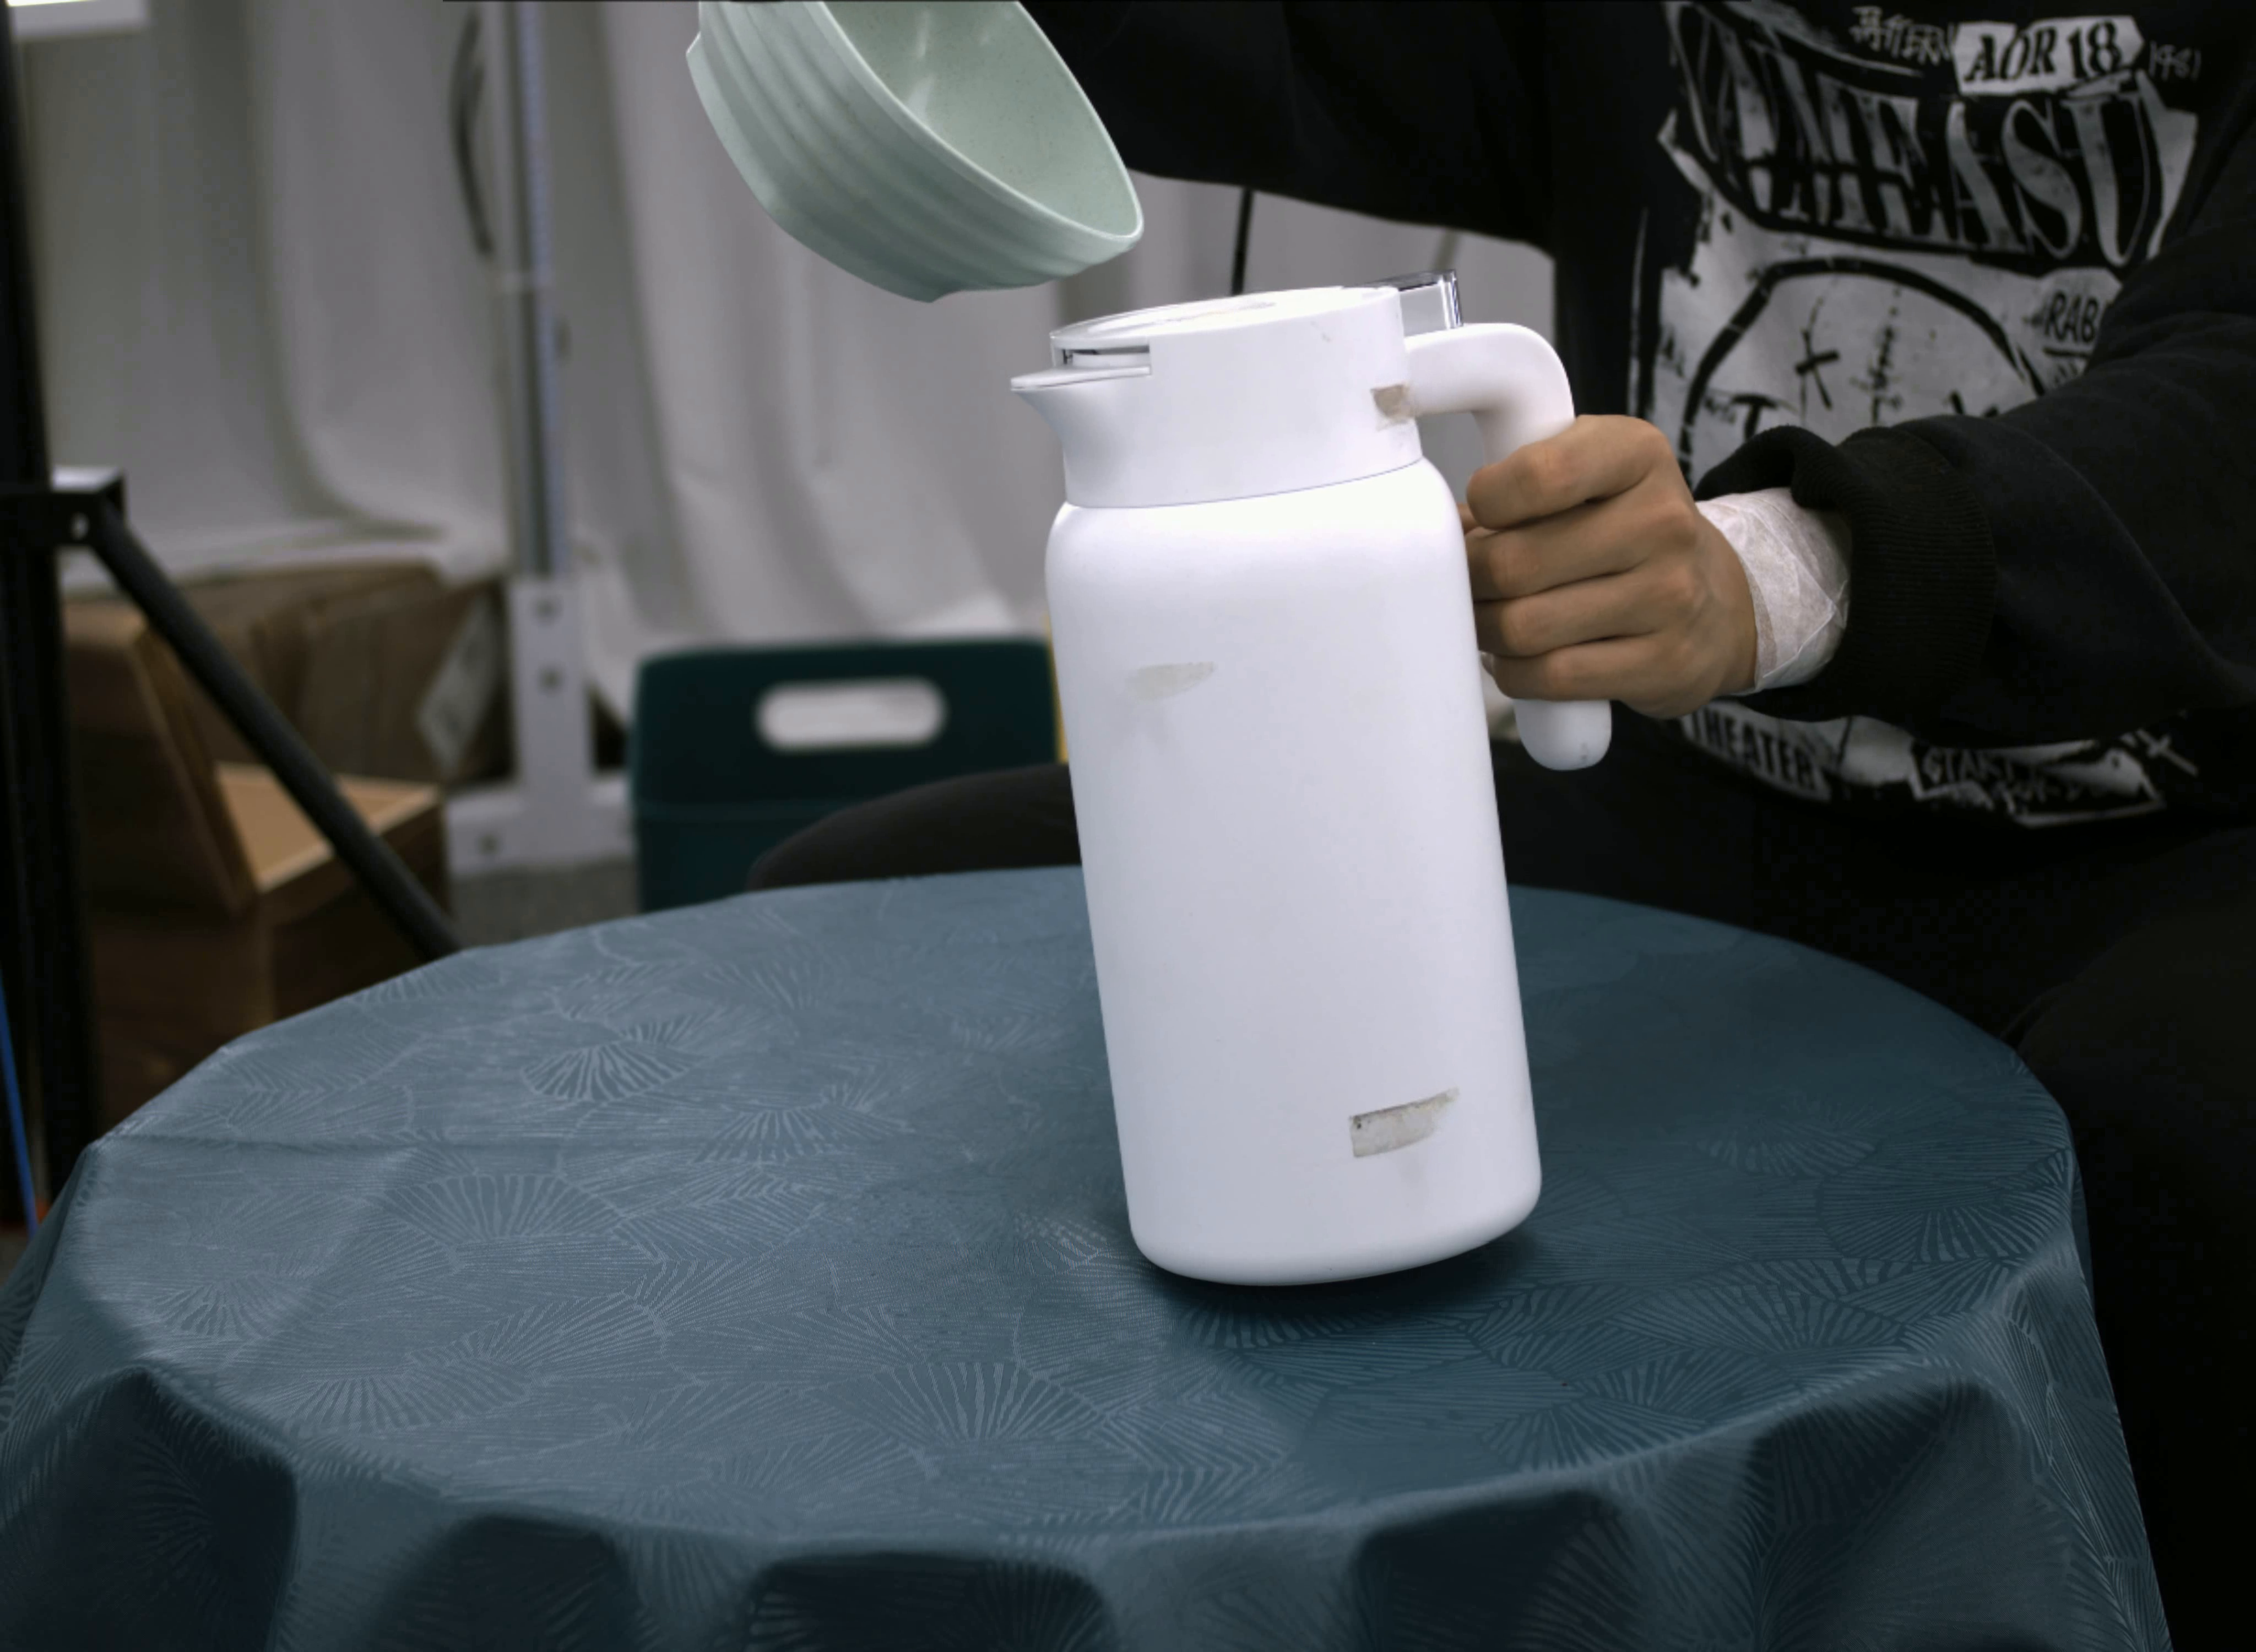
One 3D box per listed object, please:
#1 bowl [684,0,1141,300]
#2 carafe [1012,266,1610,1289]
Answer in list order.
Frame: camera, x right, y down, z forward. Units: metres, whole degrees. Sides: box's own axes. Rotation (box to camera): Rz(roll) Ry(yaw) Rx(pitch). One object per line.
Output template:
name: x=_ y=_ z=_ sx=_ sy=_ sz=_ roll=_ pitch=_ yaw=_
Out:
bowl: x=-0.069 y=-0.198 z=1.471 sx=0.059 sy=0.151 sz=0.150 roll=-42 pitch=3 yaw=20
carafe: x=0.058 y=-0.017 z=1.481 sx=0.169 sy=0.269 sz=0.126 roll=-13 pitch=8 yaw=-29
